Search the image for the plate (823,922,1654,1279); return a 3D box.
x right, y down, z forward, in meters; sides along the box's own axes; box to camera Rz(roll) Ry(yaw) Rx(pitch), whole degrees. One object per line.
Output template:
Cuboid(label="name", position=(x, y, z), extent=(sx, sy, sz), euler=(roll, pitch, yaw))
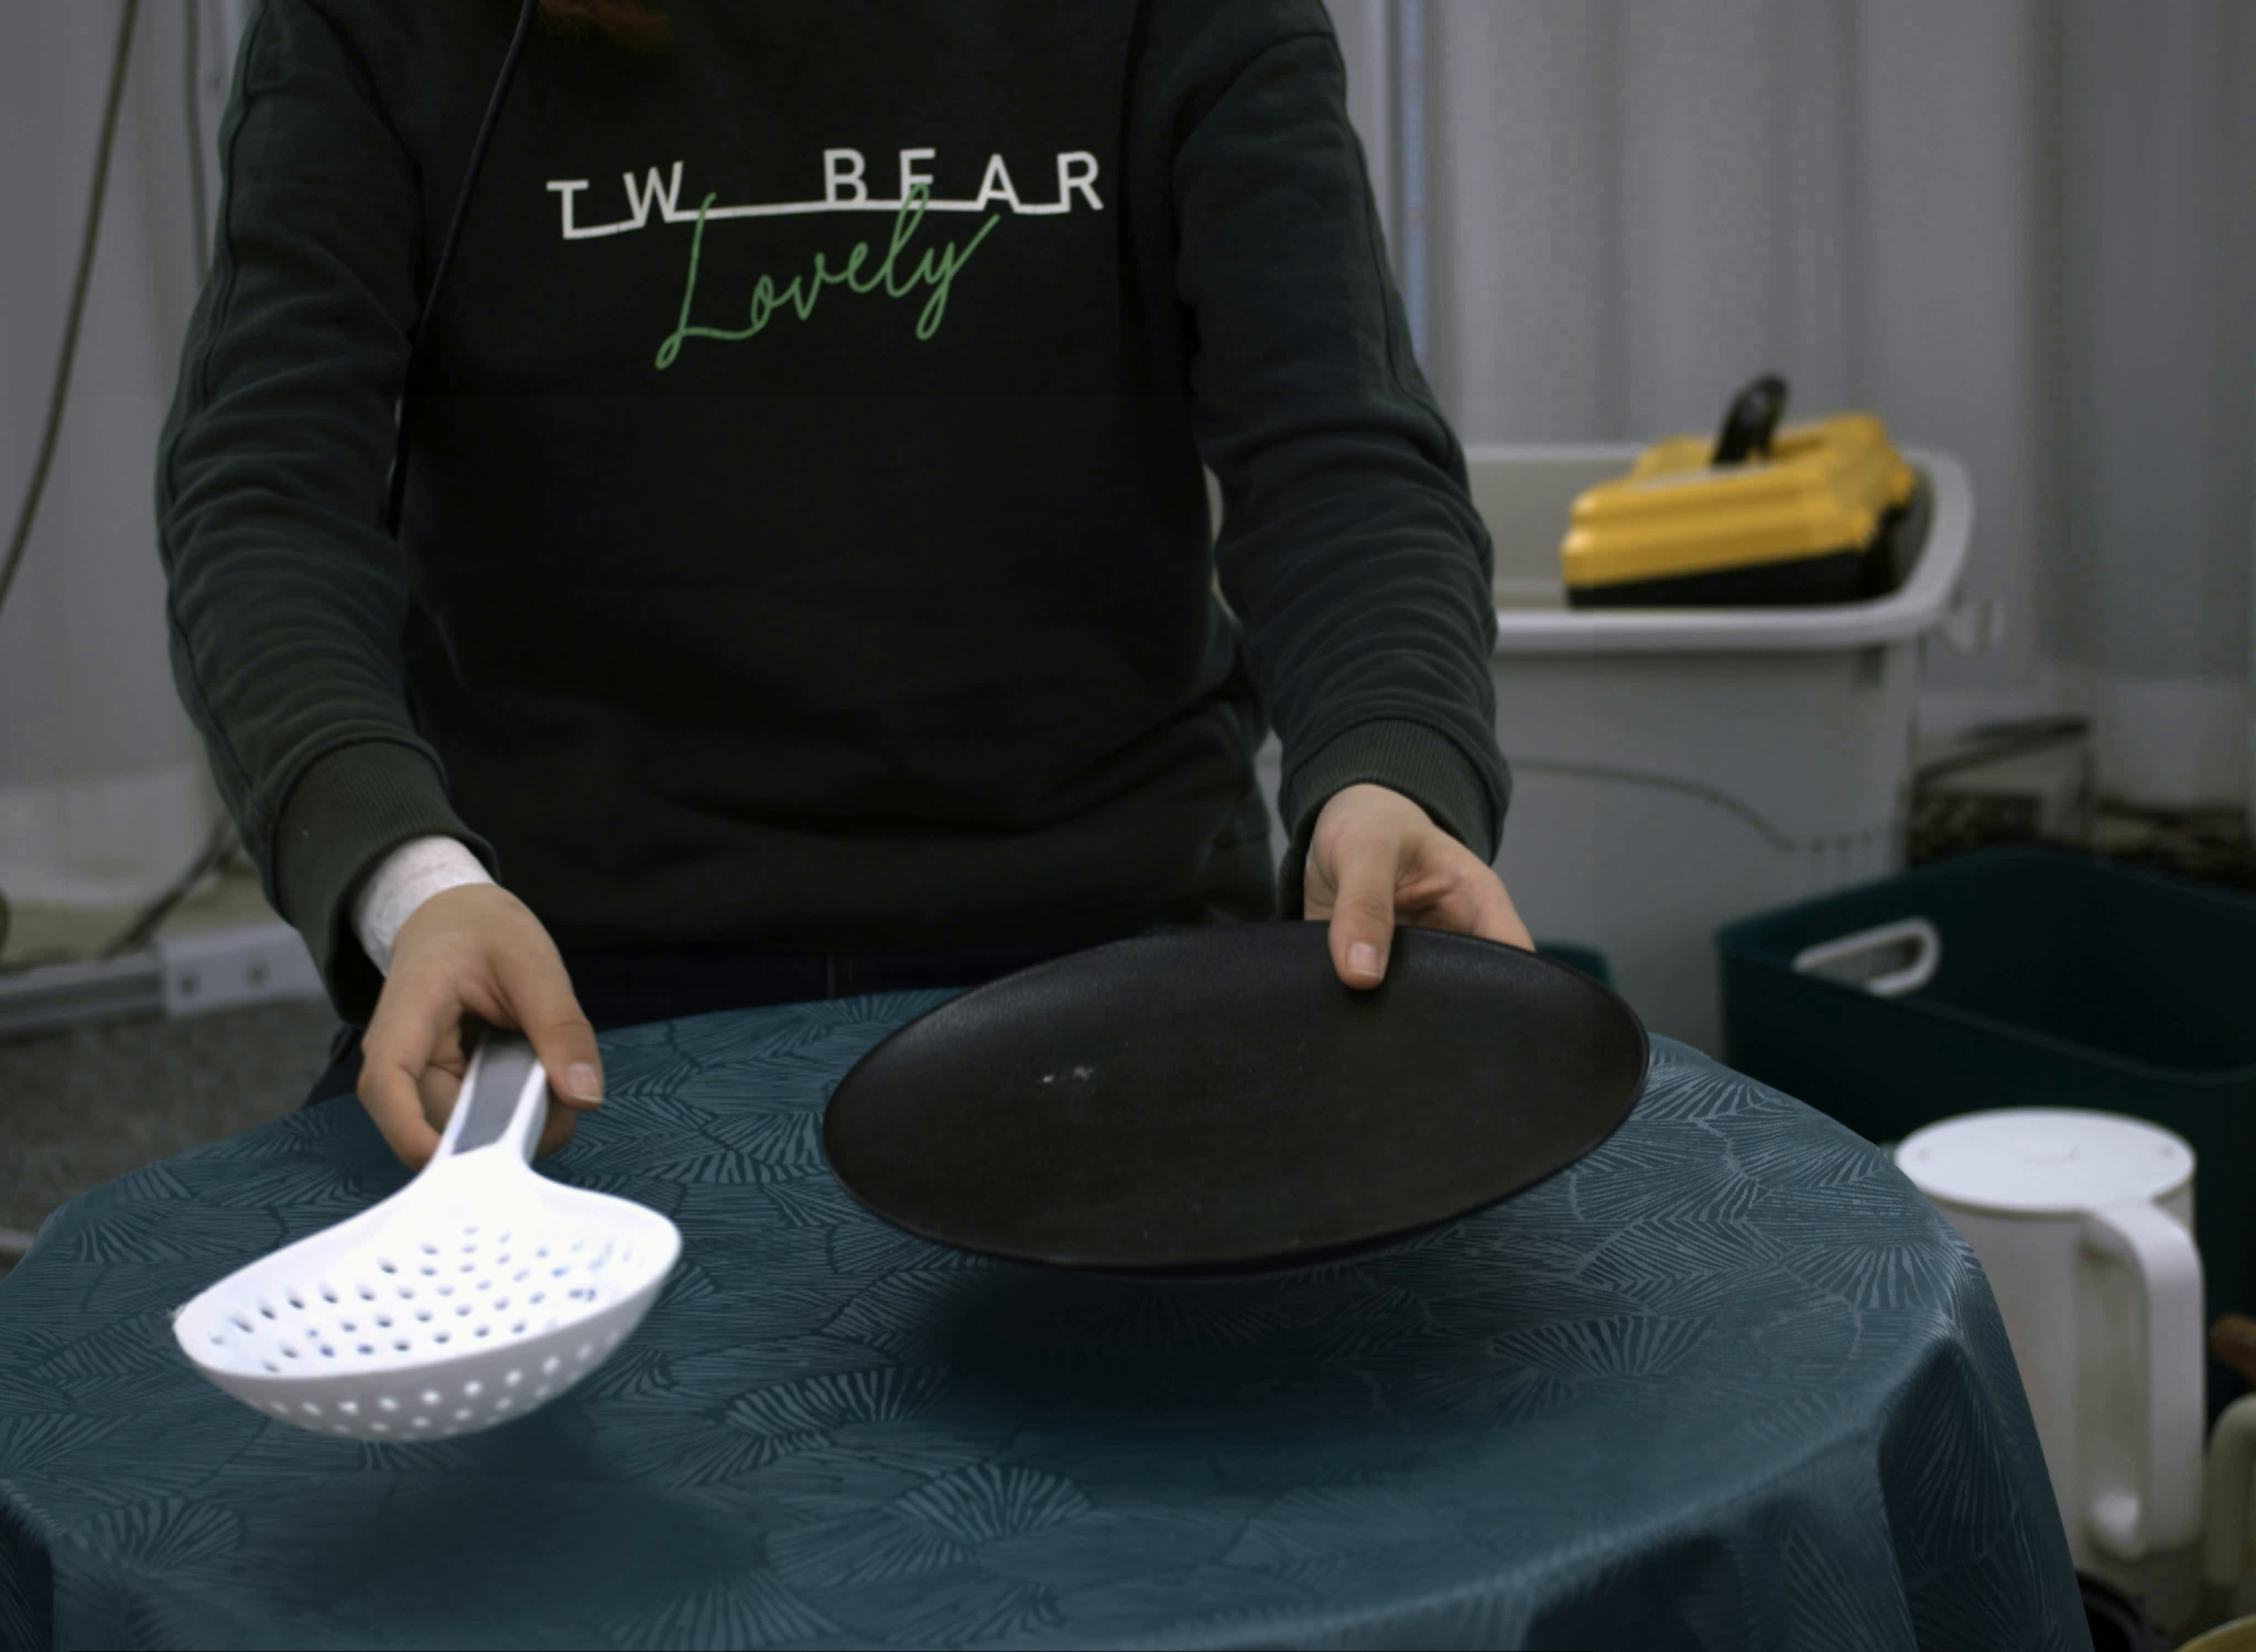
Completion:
Cuboid(label="plate", position=(0.033, 0.082, 1.596), extent=(0.243, 0.023, 0.246), euler=(-6, 20, 2))

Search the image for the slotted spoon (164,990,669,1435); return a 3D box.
Cuboid(label="slotted spoon", position=(-0.188, 0.101, 1.560), extent=(0.135, 0.045, 0.352), euler=(-8, 18, 2))
